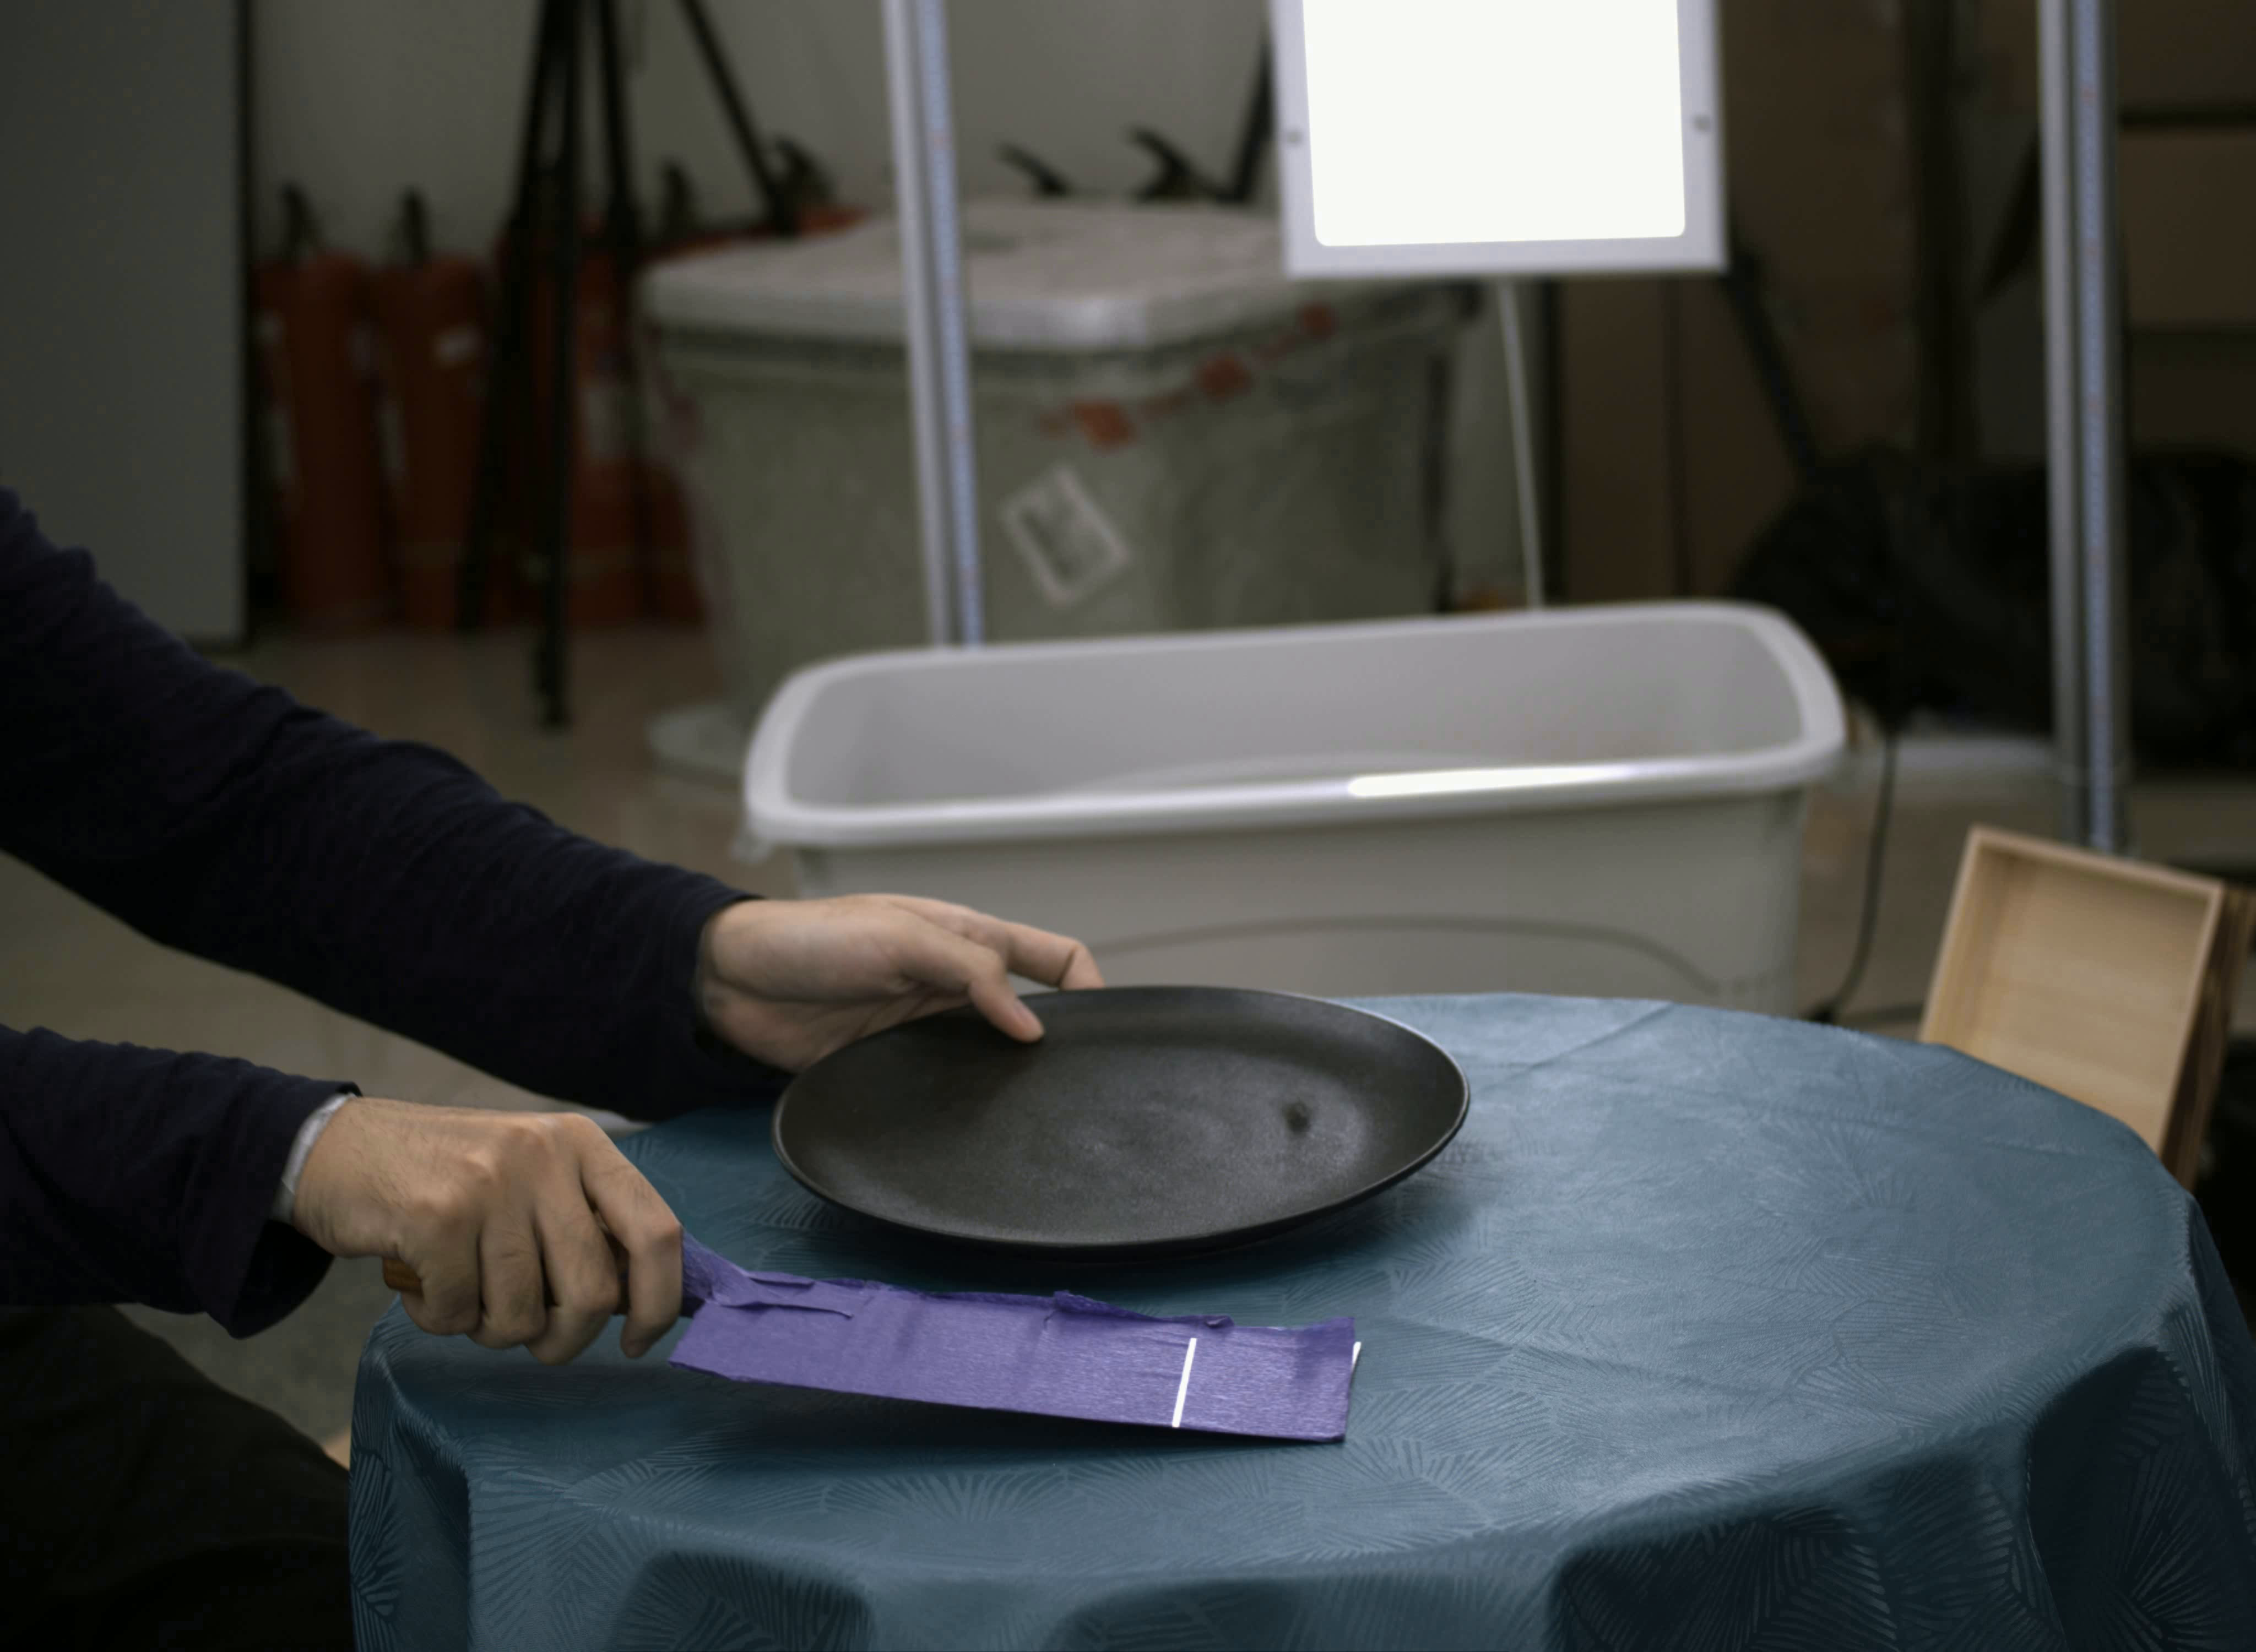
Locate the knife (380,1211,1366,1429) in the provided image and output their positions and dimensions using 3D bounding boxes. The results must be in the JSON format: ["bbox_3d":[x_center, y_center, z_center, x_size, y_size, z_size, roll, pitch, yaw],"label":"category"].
[{"bbox_3d":[-0.083,0.153,1.706,0.316,0.032,0.103,3,14,8],"label":"knife"}]

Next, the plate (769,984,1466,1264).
[{"bbox_3d":[-0.003,0.106,1.907,0.244,0.023,0.244,-4,19,0],"label":"plate"}]
